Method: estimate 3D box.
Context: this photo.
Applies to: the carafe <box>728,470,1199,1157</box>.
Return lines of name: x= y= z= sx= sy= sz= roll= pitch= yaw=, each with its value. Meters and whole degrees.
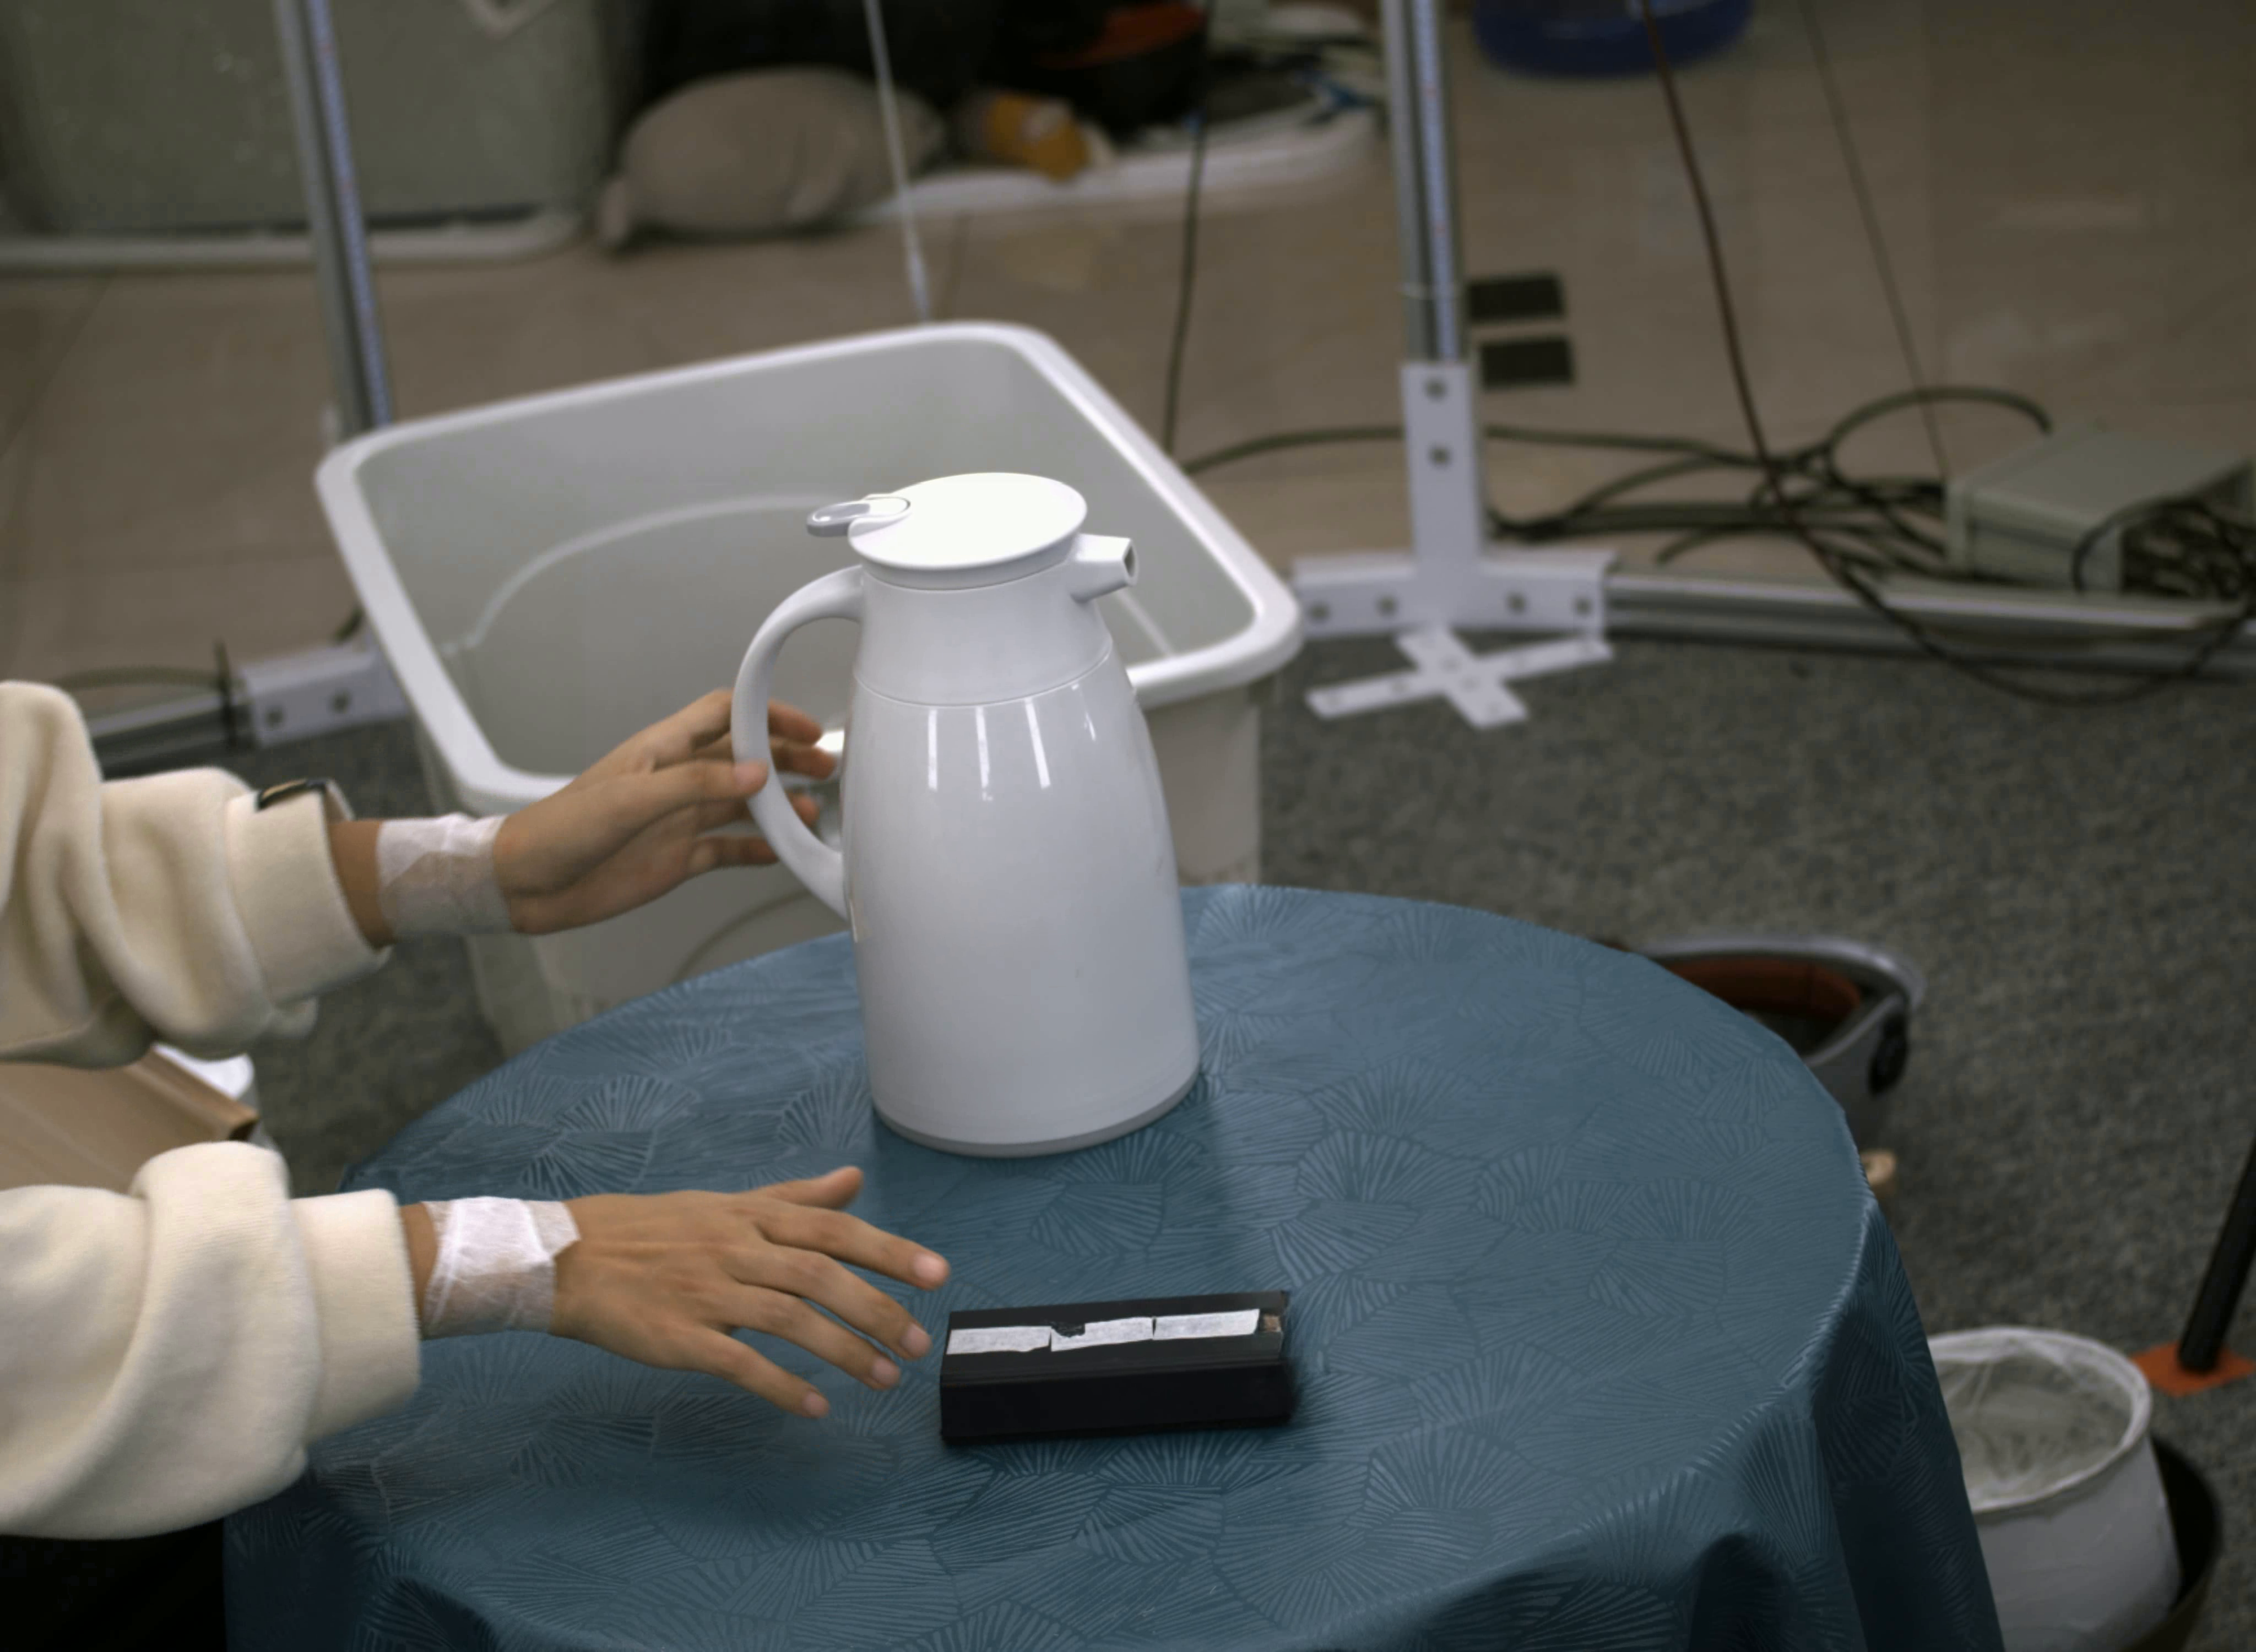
carafe: x=-0.068 y=-0.011 z=2.187 sx=0.167 sy=0.252 sz=0.130 roll=-2 pitch=26 yaw=12

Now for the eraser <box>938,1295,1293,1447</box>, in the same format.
eraser: x=-0.003 y=0.192 z=2.001 sx=0.125 sy=0.031 sz=0.053 roll=-5 pitch=23 yaw=4
